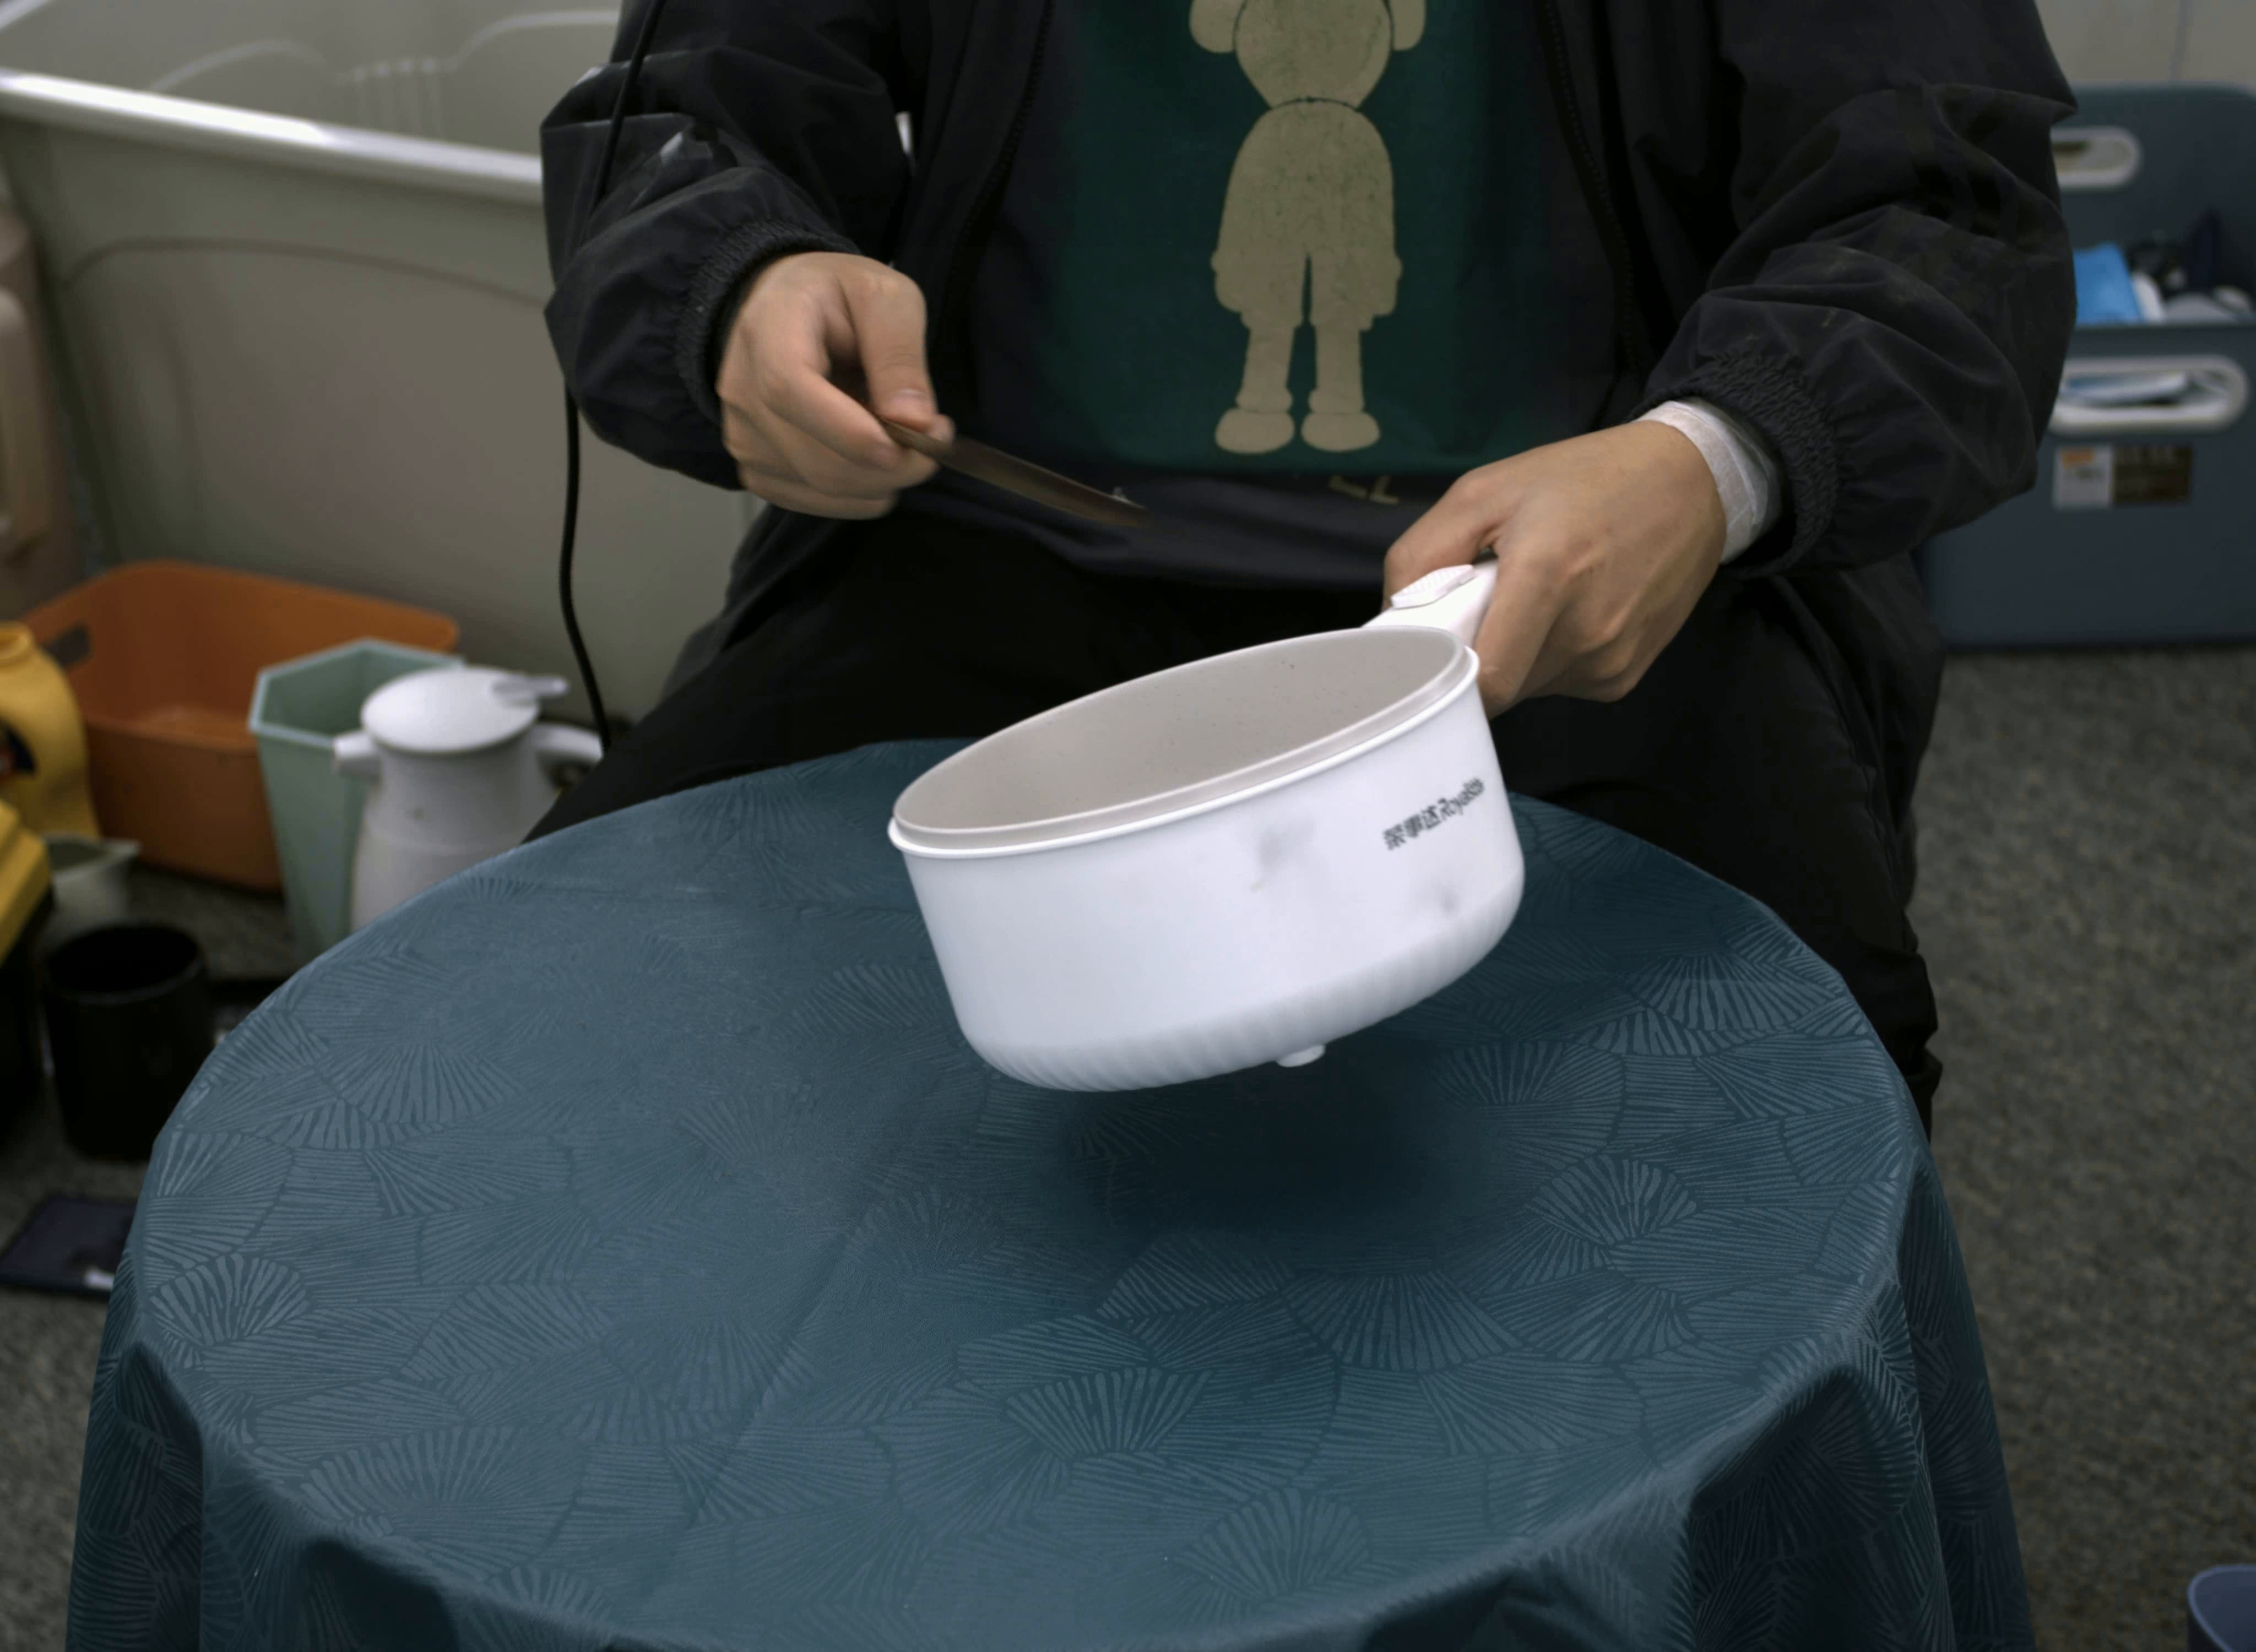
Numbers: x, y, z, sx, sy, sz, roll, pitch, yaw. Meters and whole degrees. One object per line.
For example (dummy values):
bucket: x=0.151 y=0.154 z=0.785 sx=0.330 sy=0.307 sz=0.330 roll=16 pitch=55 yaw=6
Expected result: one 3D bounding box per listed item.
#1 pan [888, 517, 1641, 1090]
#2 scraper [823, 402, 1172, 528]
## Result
pan: x=0.073 y=-0.009 z=1.901 sx=0.199 sy=0.102 sz=0.359 roll=-9 pitch=12 yaw=38
scraper: x=-0.056 y=-0.124 z=1.890 sx=0.075 sy=0.011 sz=0.211 roll=16 pitch=5 yaw=-26
